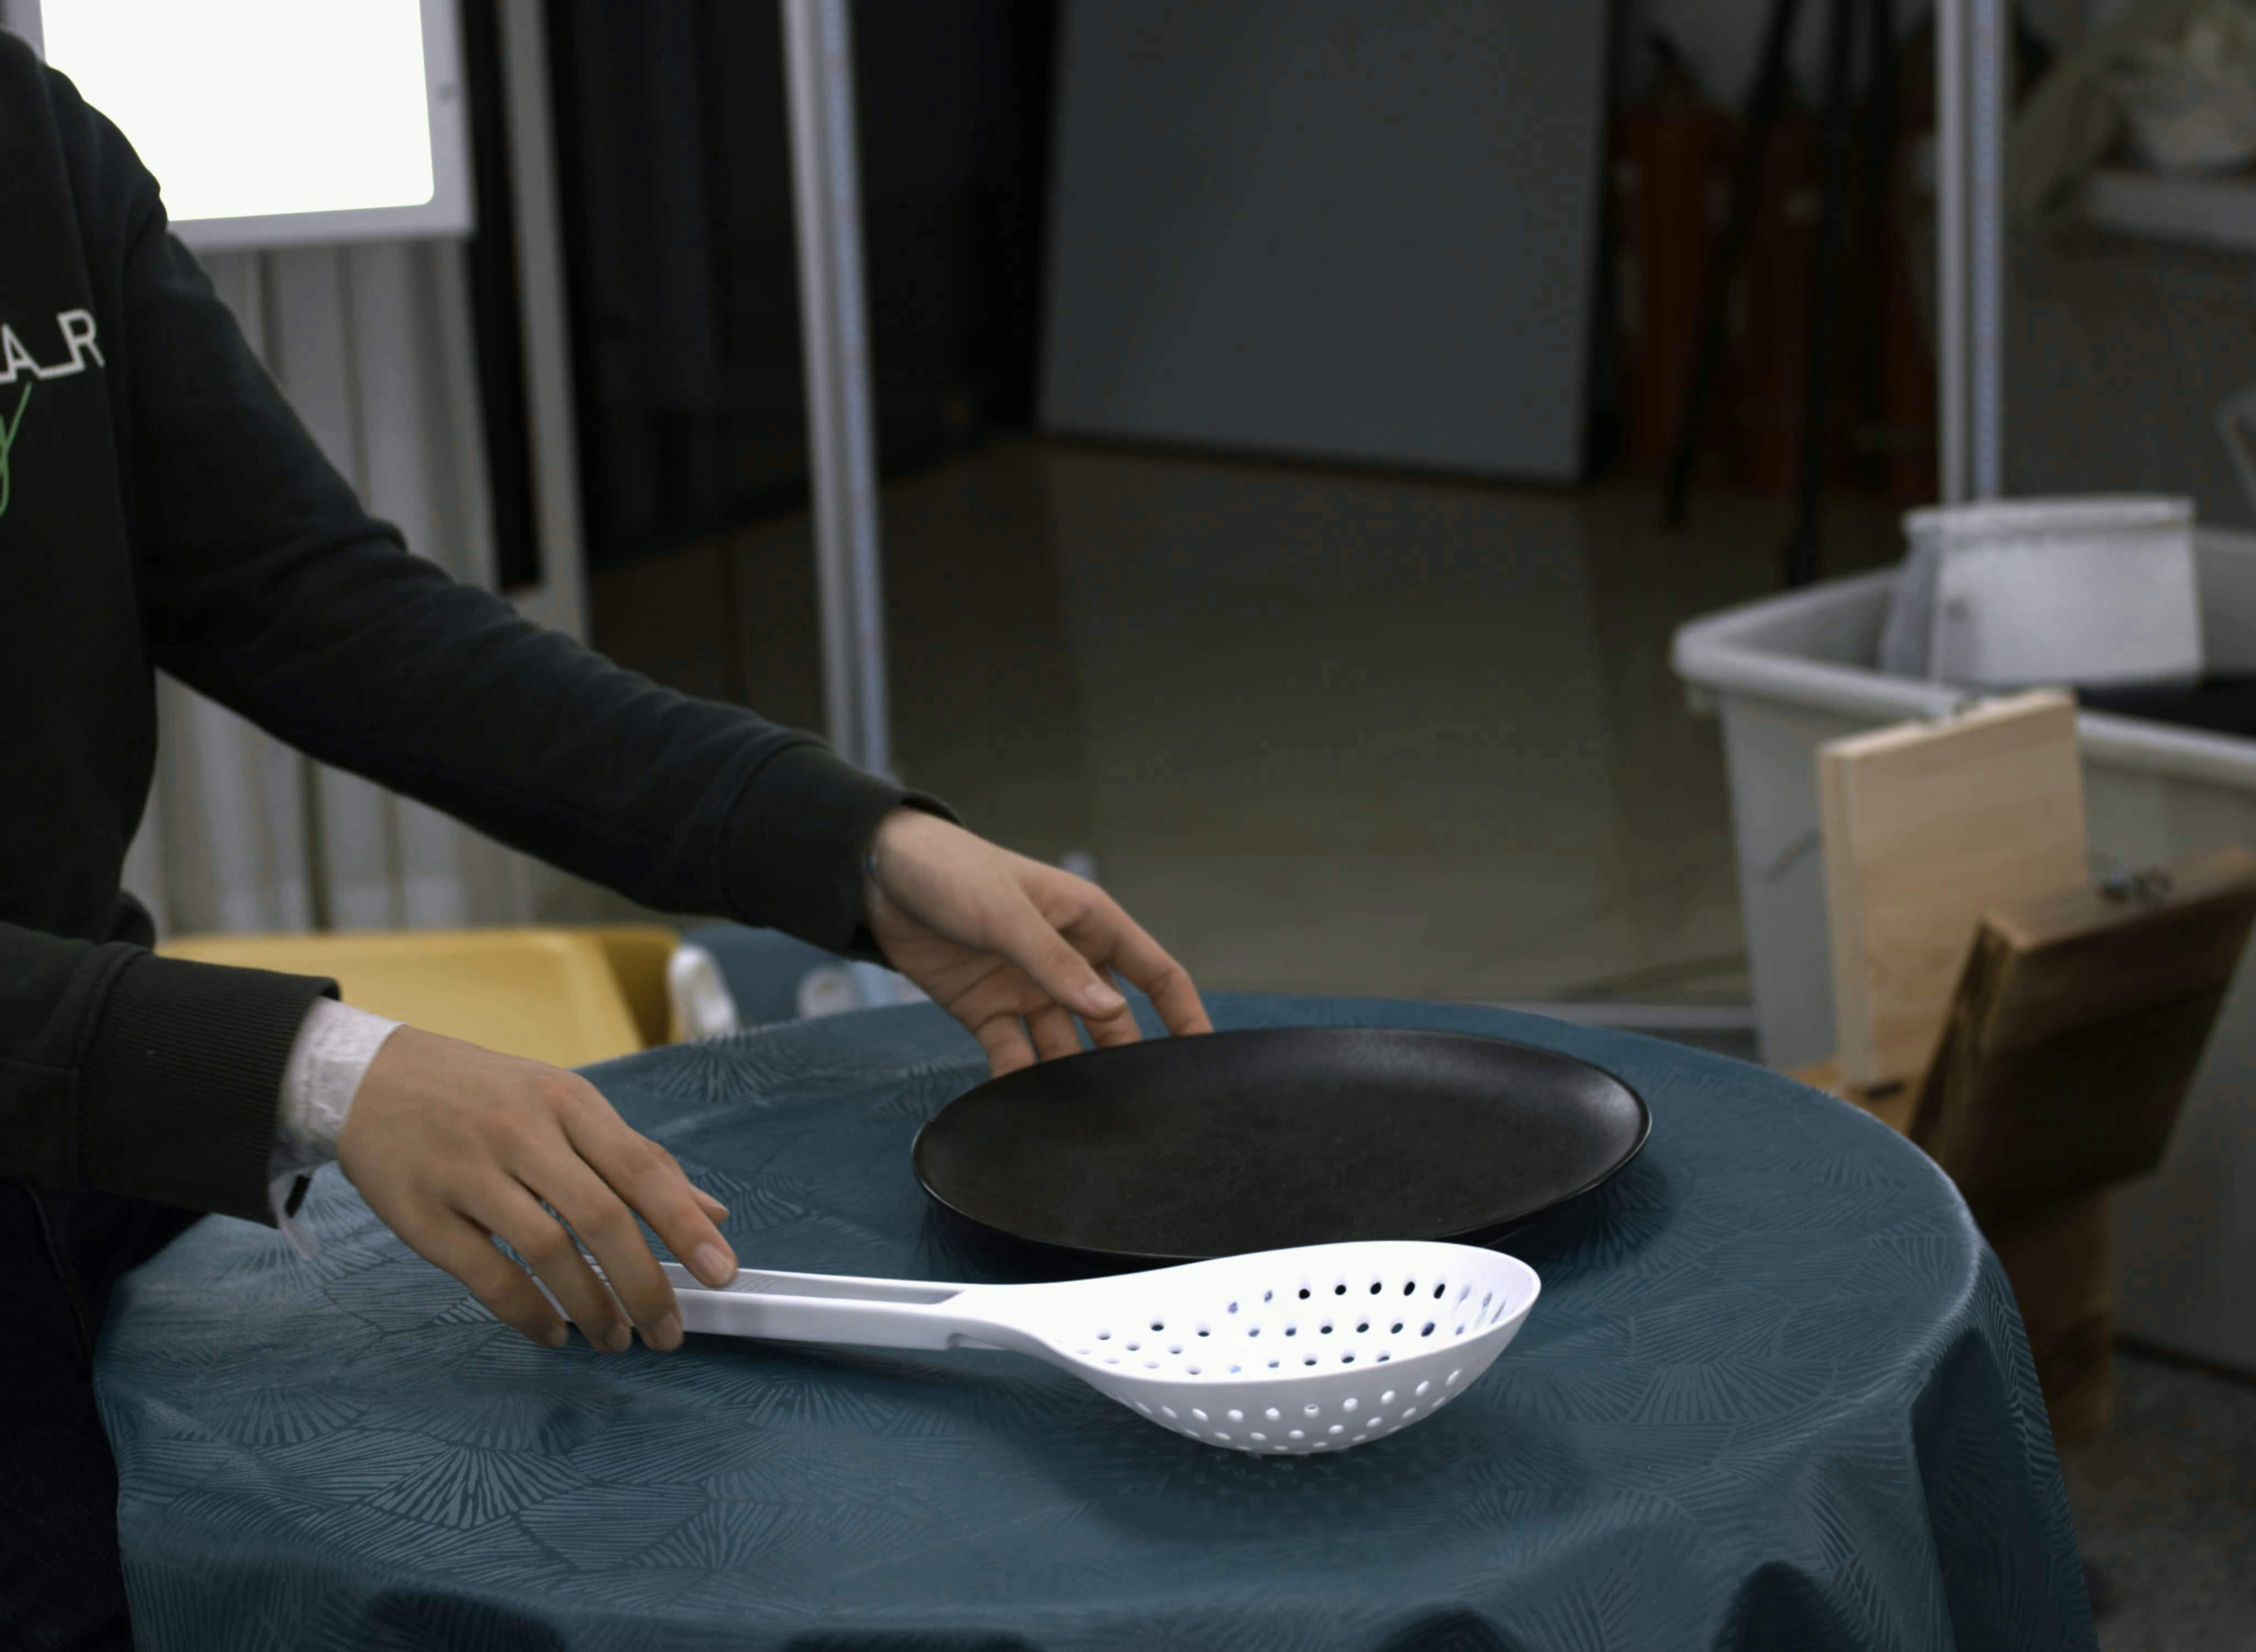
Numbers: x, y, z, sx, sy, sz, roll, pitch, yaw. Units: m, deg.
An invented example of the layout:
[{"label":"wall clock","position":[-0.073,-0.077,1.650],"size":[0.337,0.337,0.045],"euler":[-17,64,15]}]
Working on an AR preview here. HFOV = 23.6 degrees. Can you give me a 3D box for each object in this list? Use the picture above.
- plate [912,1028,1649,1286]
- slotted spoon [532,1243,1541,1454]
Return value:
[{"label":"plate","position":[0.050,0.110,1.753],"size":[0.241,0.024,0.245],"euler":[-4,14,0]},{"label":"slotted spoon","position":[-0.037,0.145,1.591],"size":[0.352,0.046,0.133],"euler":[4,14,34]}]
